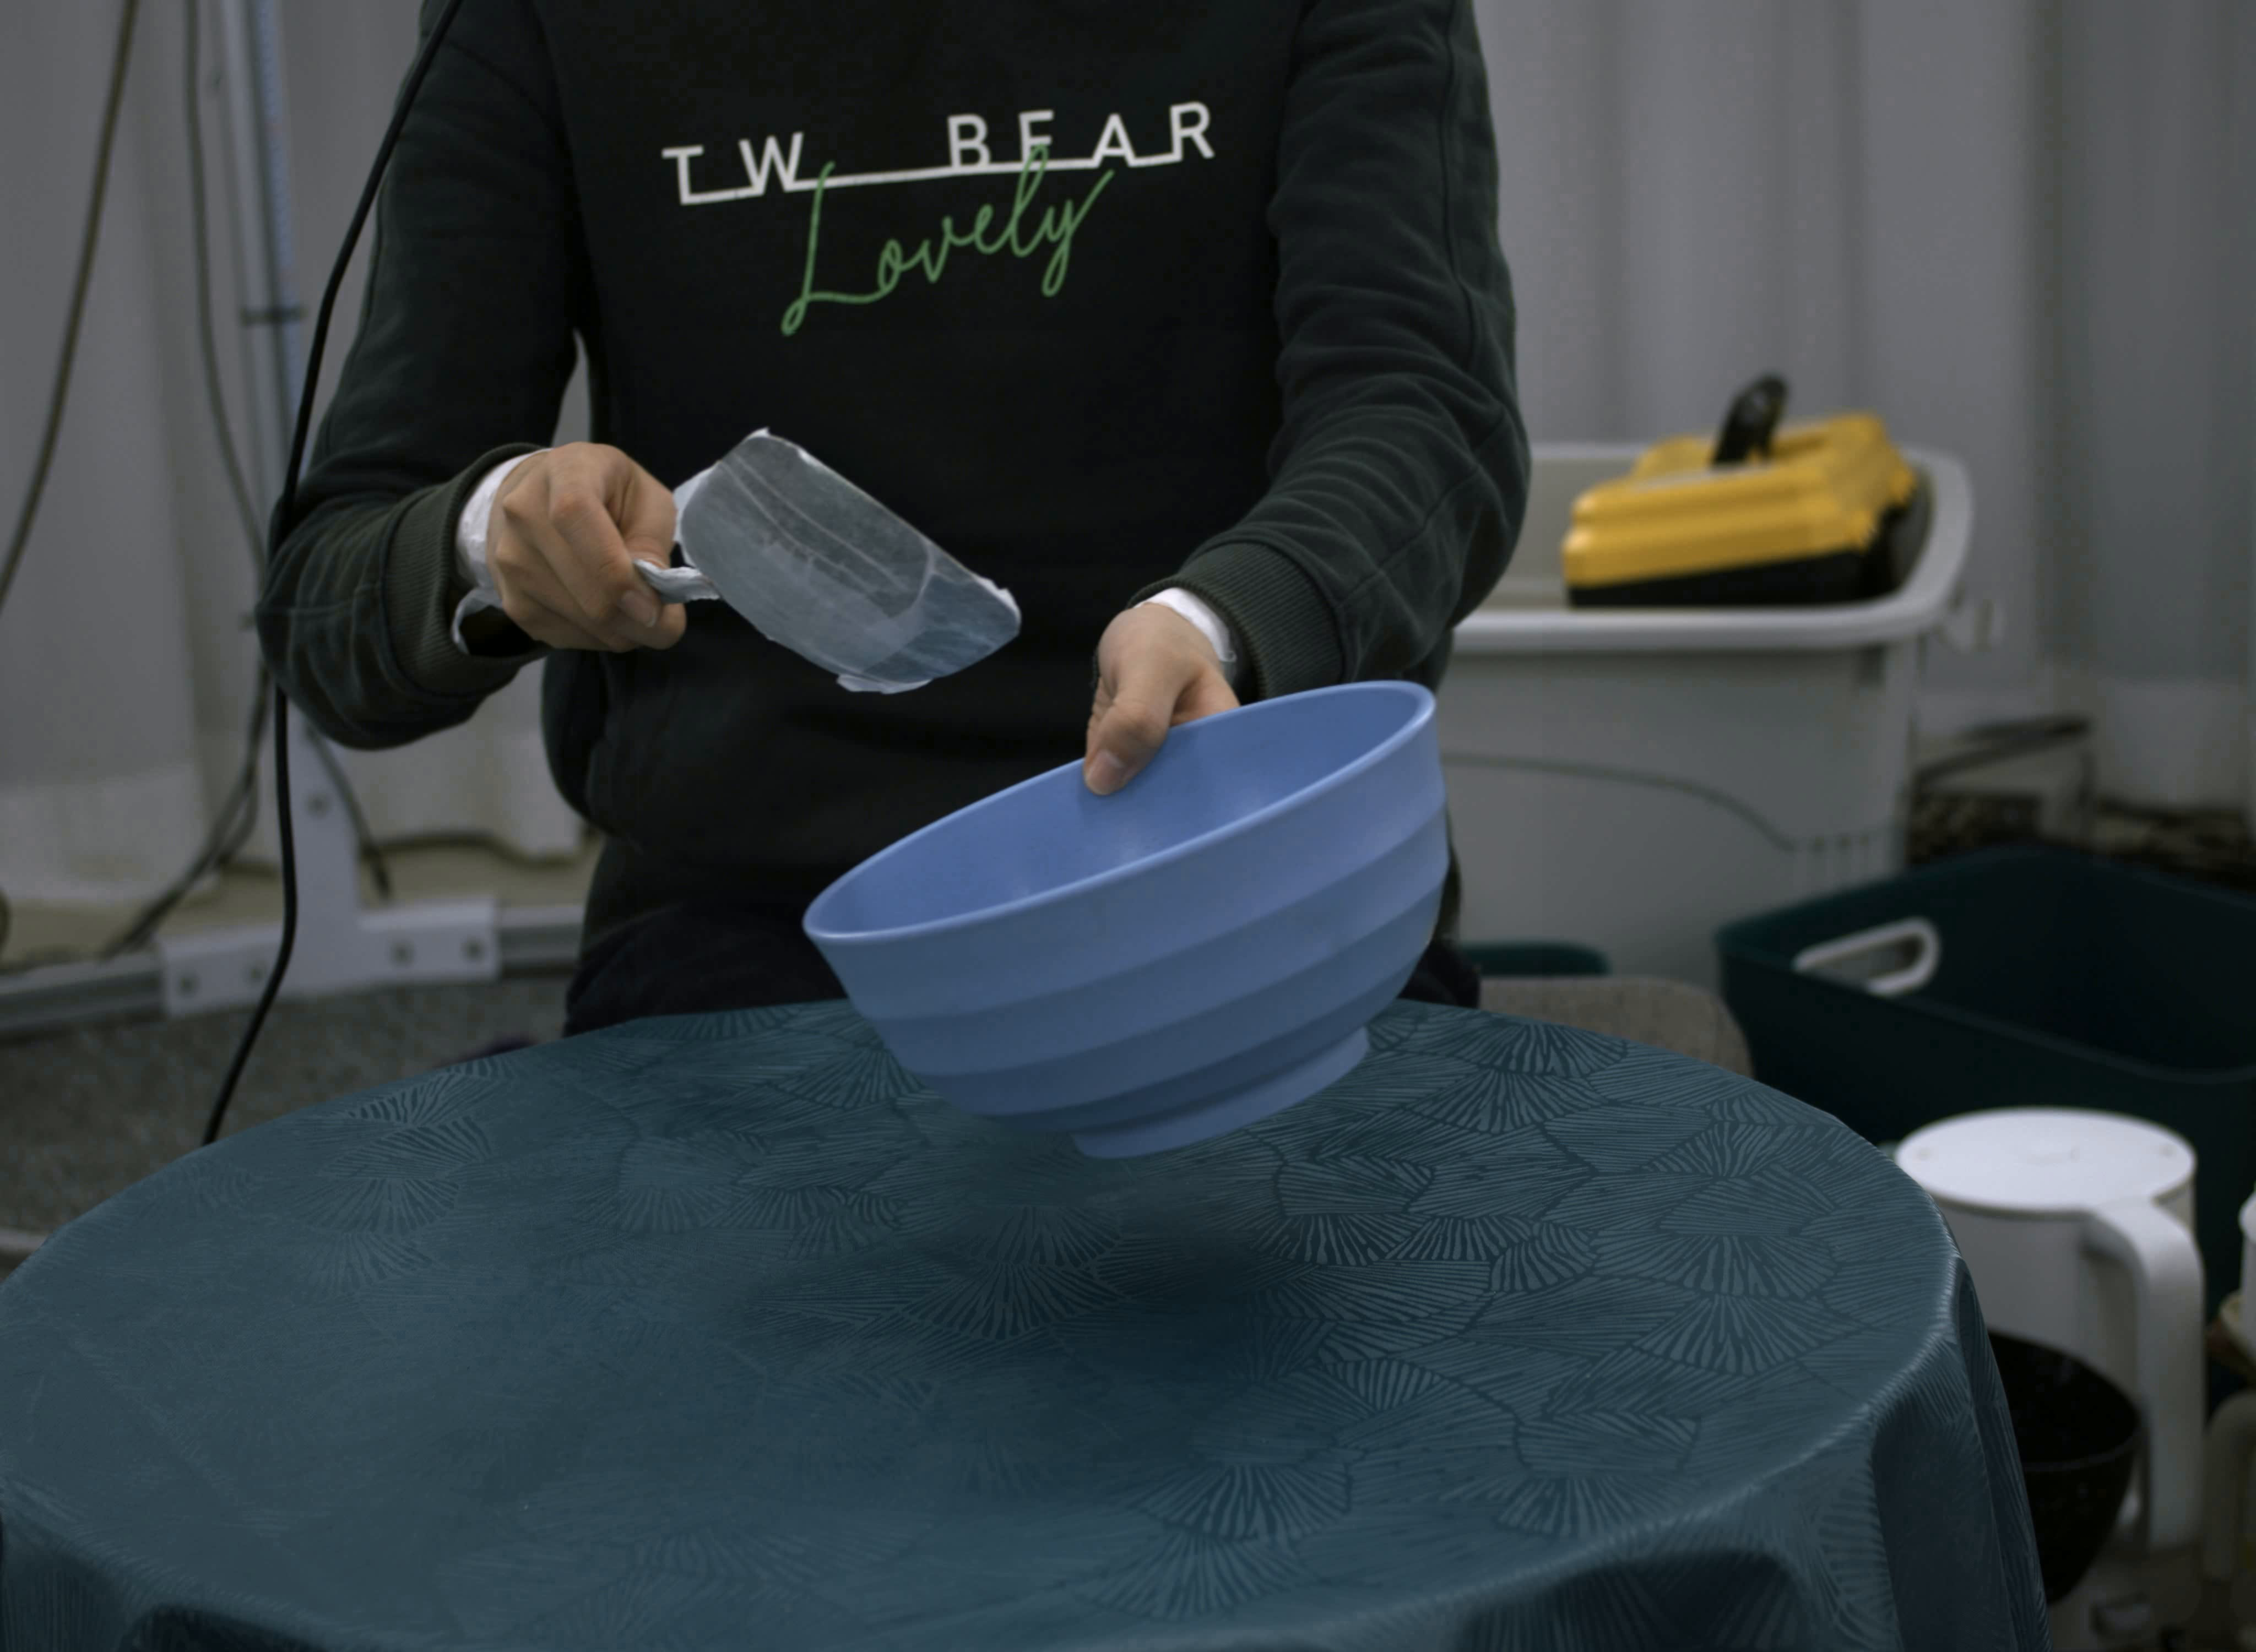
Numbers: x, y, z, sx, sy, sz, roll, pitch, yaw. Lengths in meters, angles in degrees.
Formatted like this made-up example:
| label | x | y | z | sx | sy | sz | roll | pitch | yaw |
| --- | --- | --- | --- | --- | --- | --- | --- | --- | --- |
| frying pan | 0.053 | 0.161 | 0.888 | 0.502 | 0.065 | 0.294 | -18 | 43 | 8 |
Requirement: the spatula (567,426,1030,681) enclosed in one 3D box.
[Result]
| label | x | y | z | sx | sy | sz | roll | pitch | yaw |
| --- | --- | --- | --- | --- | --- | --- | --- | --- | --- |
| spatula | -0.125 | -0.076 | 1.705 | 0.098 | 0.045 | 0.366 | 34 | -8 | -16 |

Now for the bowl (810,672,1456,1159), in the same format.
| label | x | y | z | sx | sy | sz | roll | pitch | yaw |
| --- | --- | --- | --- | --- | --- | --- | --- | --- | --- |
| bowl | 0.014 | 0.036 | 1.603 | 0.196 | 0.095 | 0.197 | -21 | 11 | 4 |
